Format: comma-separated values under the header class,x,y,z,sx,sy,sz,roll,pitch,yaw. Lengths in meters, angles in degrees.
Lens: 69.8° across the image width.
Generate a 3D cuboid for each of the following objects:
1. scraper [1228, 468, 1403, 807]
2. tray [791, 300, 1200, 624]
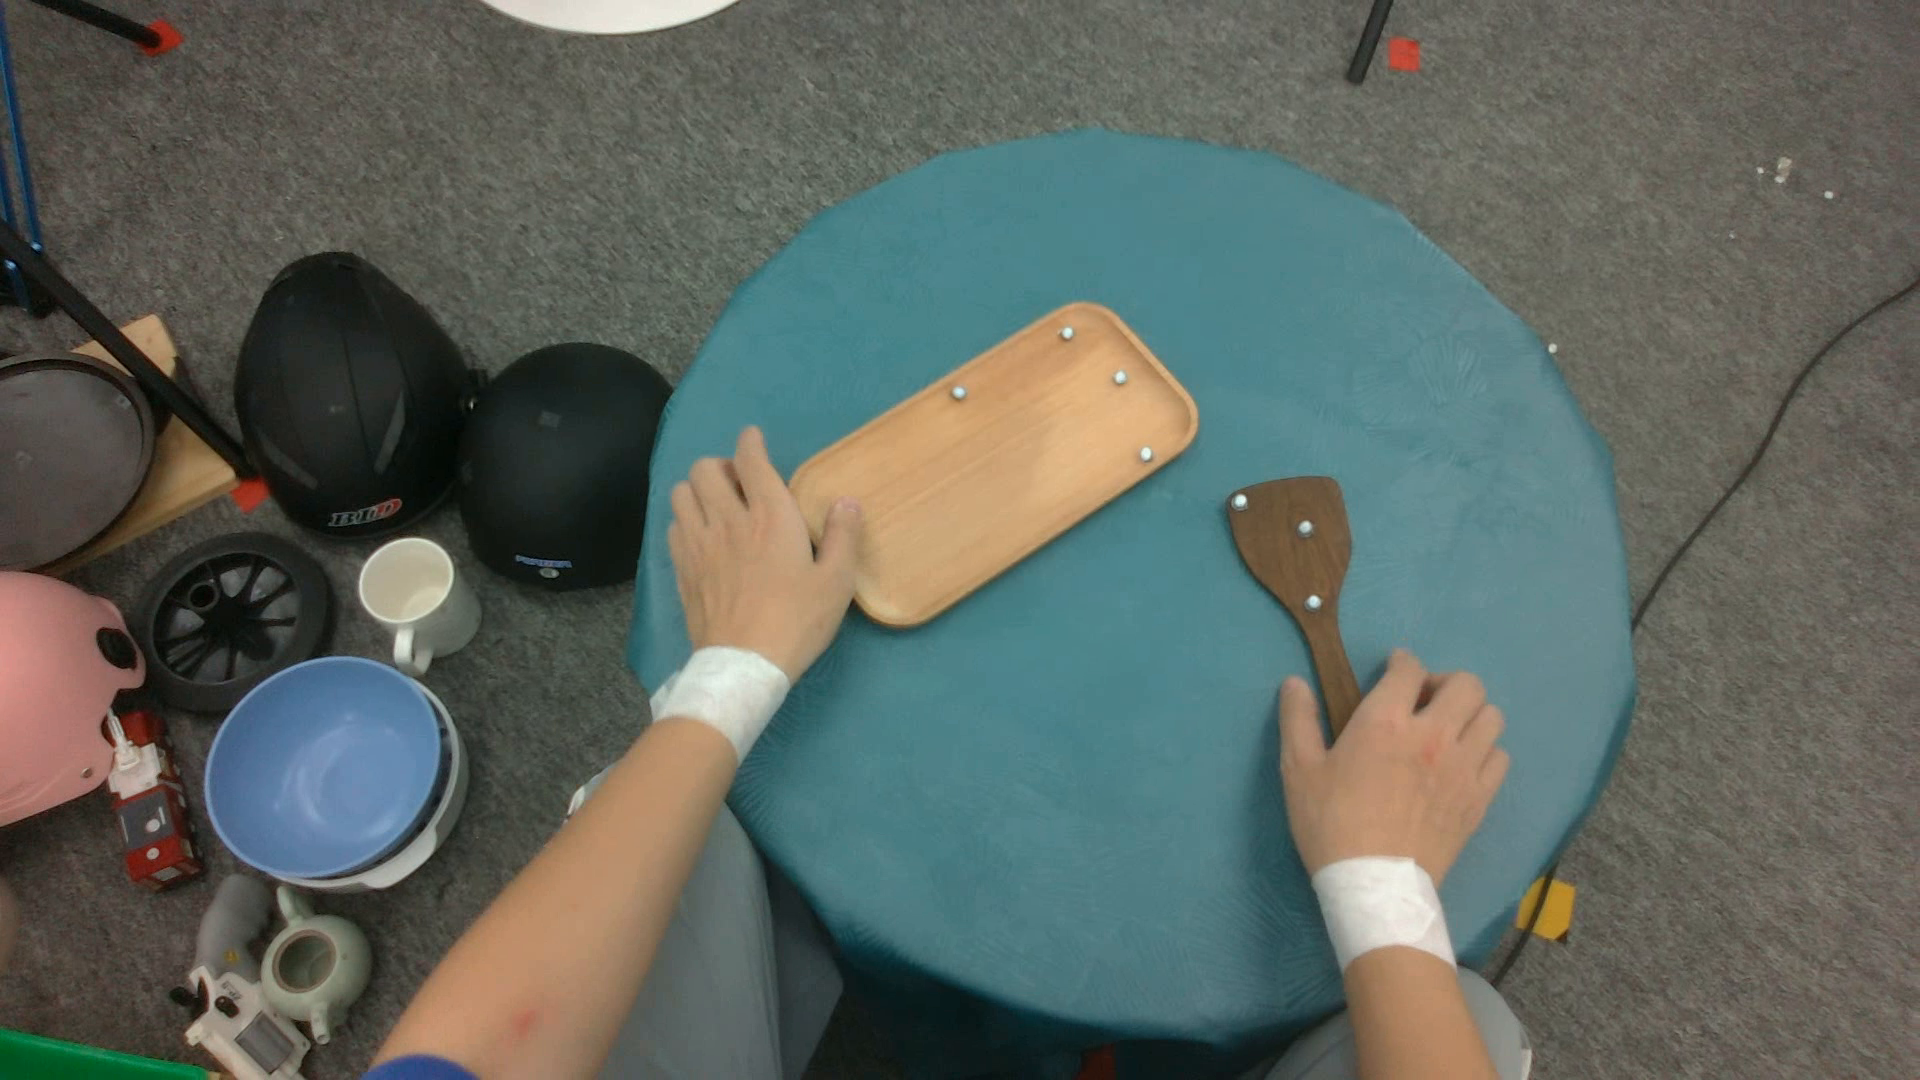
class,x,y,z,sx,sy,sz,roll,pitch,yaw
scraper,0.219,0.054,0.816,0.076,0.011,0.212,-9,66,-5
tray,0.024,-0.053,0.855,0.251,0.023,0.131,-33,67,-16
